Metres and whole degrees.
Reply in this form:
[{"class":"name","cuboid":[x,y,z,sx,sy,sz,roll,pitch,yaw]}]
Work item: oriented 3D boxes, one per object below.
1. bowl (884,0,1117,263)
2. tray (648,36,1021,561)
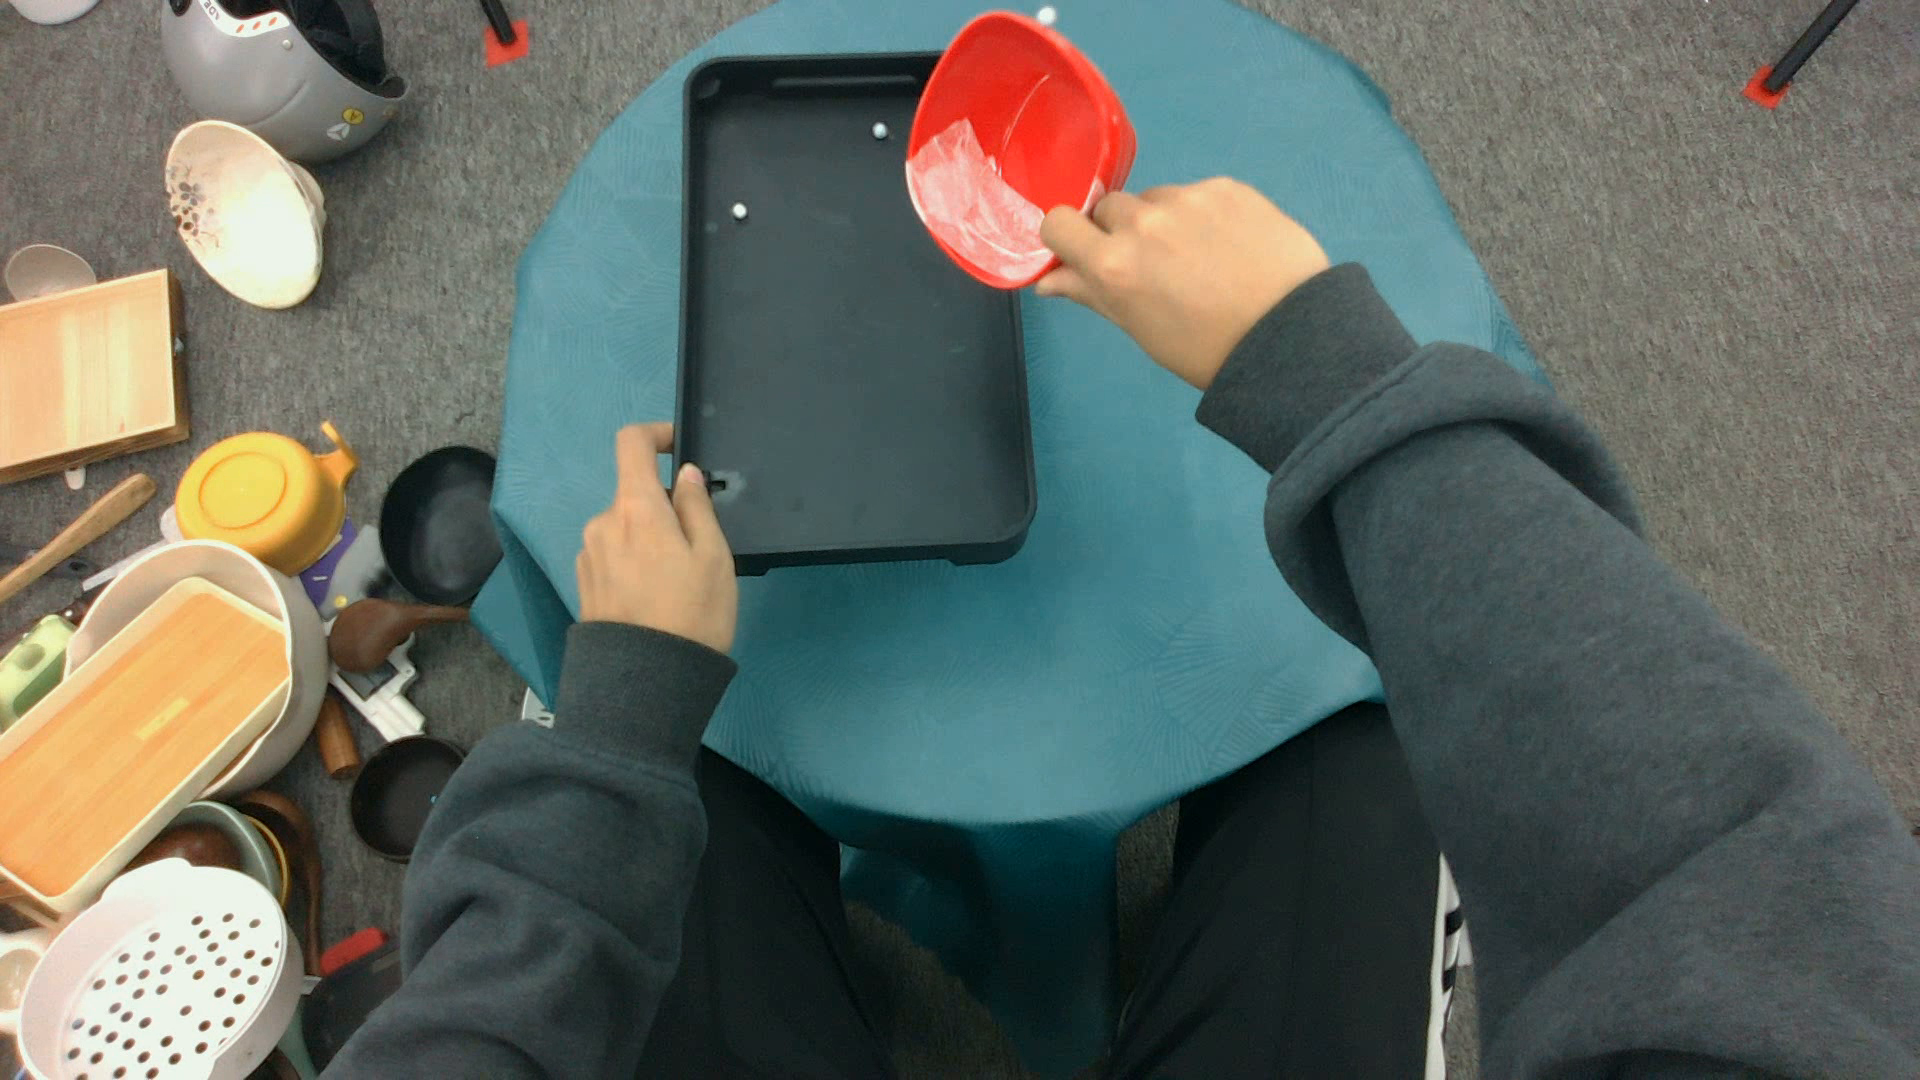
[{"class":"bowl","cuboid":[0.026,-0.184,0.621,0.051,0.118,0.119,-8,60,-49]},{"class":"tray","cuboid":[-0.072,-0.141,0.750,0.184,0.037,0.319,-3,65,-3]}]
